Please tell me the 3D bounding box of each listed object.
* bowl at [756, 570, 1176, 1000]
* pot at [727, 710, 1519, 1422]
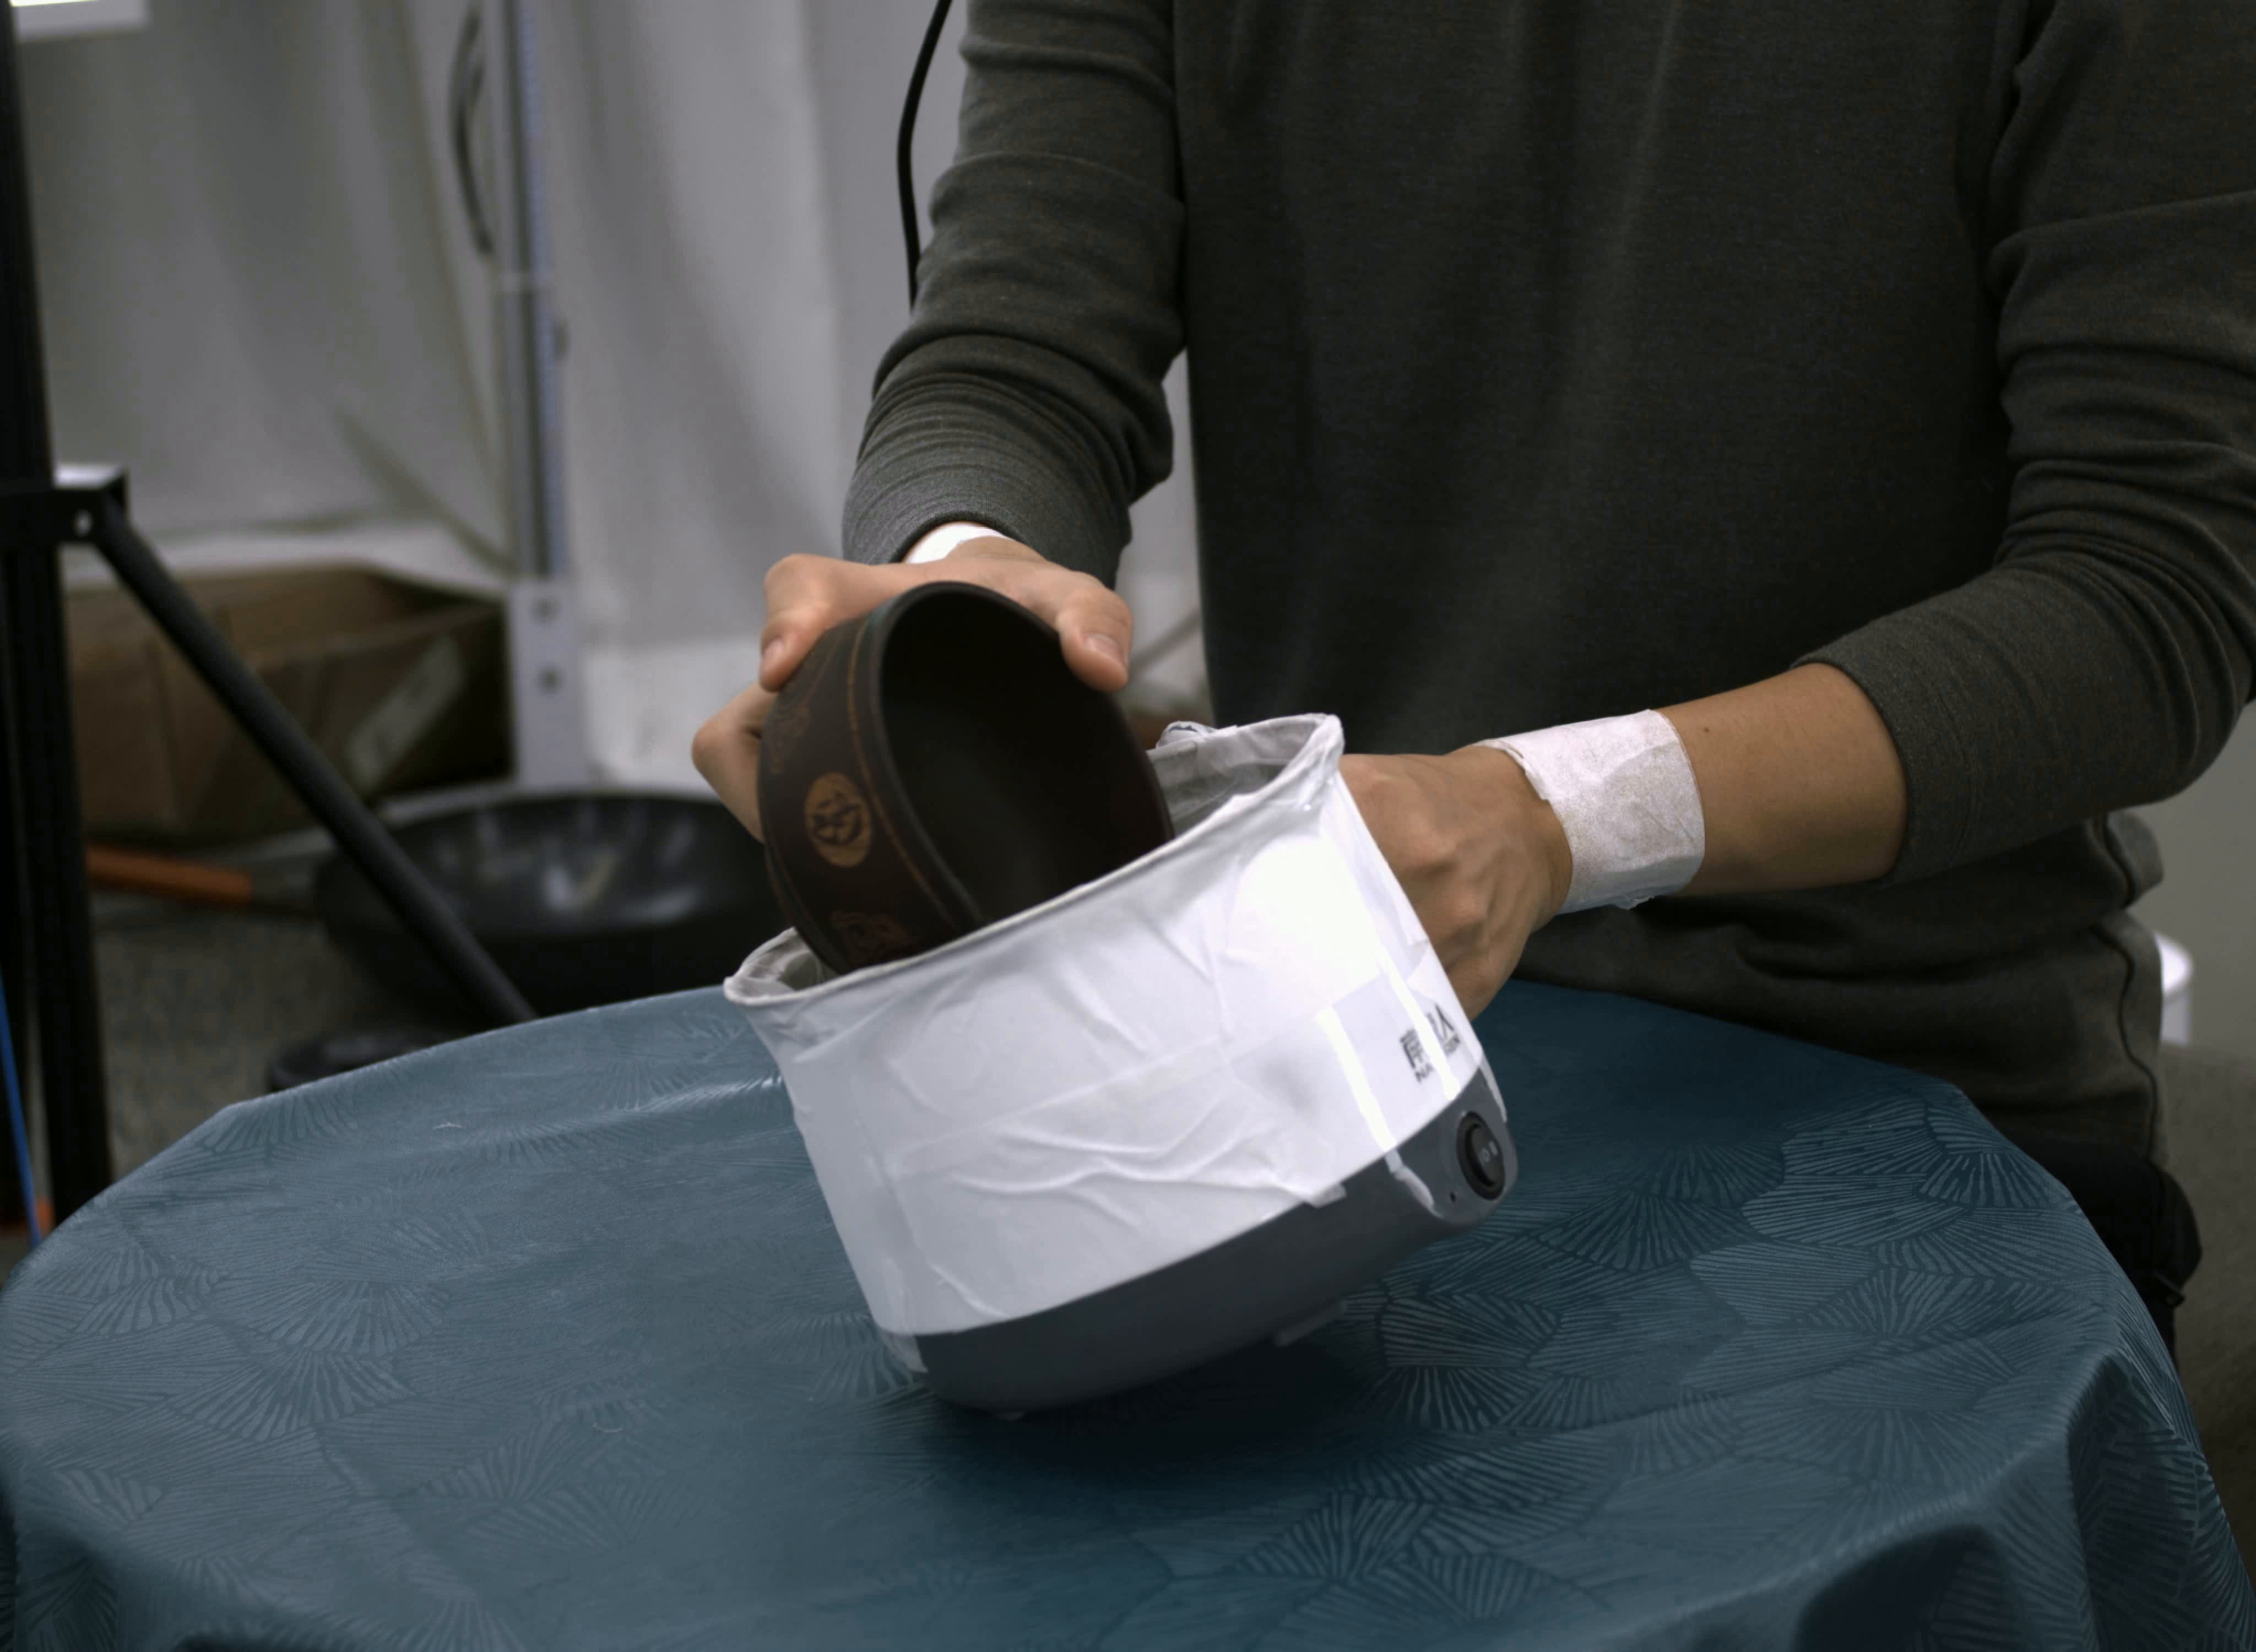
[{"bbox_3d":[-0.049,0.000,1.372,0.071,0.118,0.116,-31,-2,32],"label":"bowl"},{"bbox_3d":[0.011,0.056,1.421,0.181,0.136,0.230,-19,9,29],"label":"pot"}]
